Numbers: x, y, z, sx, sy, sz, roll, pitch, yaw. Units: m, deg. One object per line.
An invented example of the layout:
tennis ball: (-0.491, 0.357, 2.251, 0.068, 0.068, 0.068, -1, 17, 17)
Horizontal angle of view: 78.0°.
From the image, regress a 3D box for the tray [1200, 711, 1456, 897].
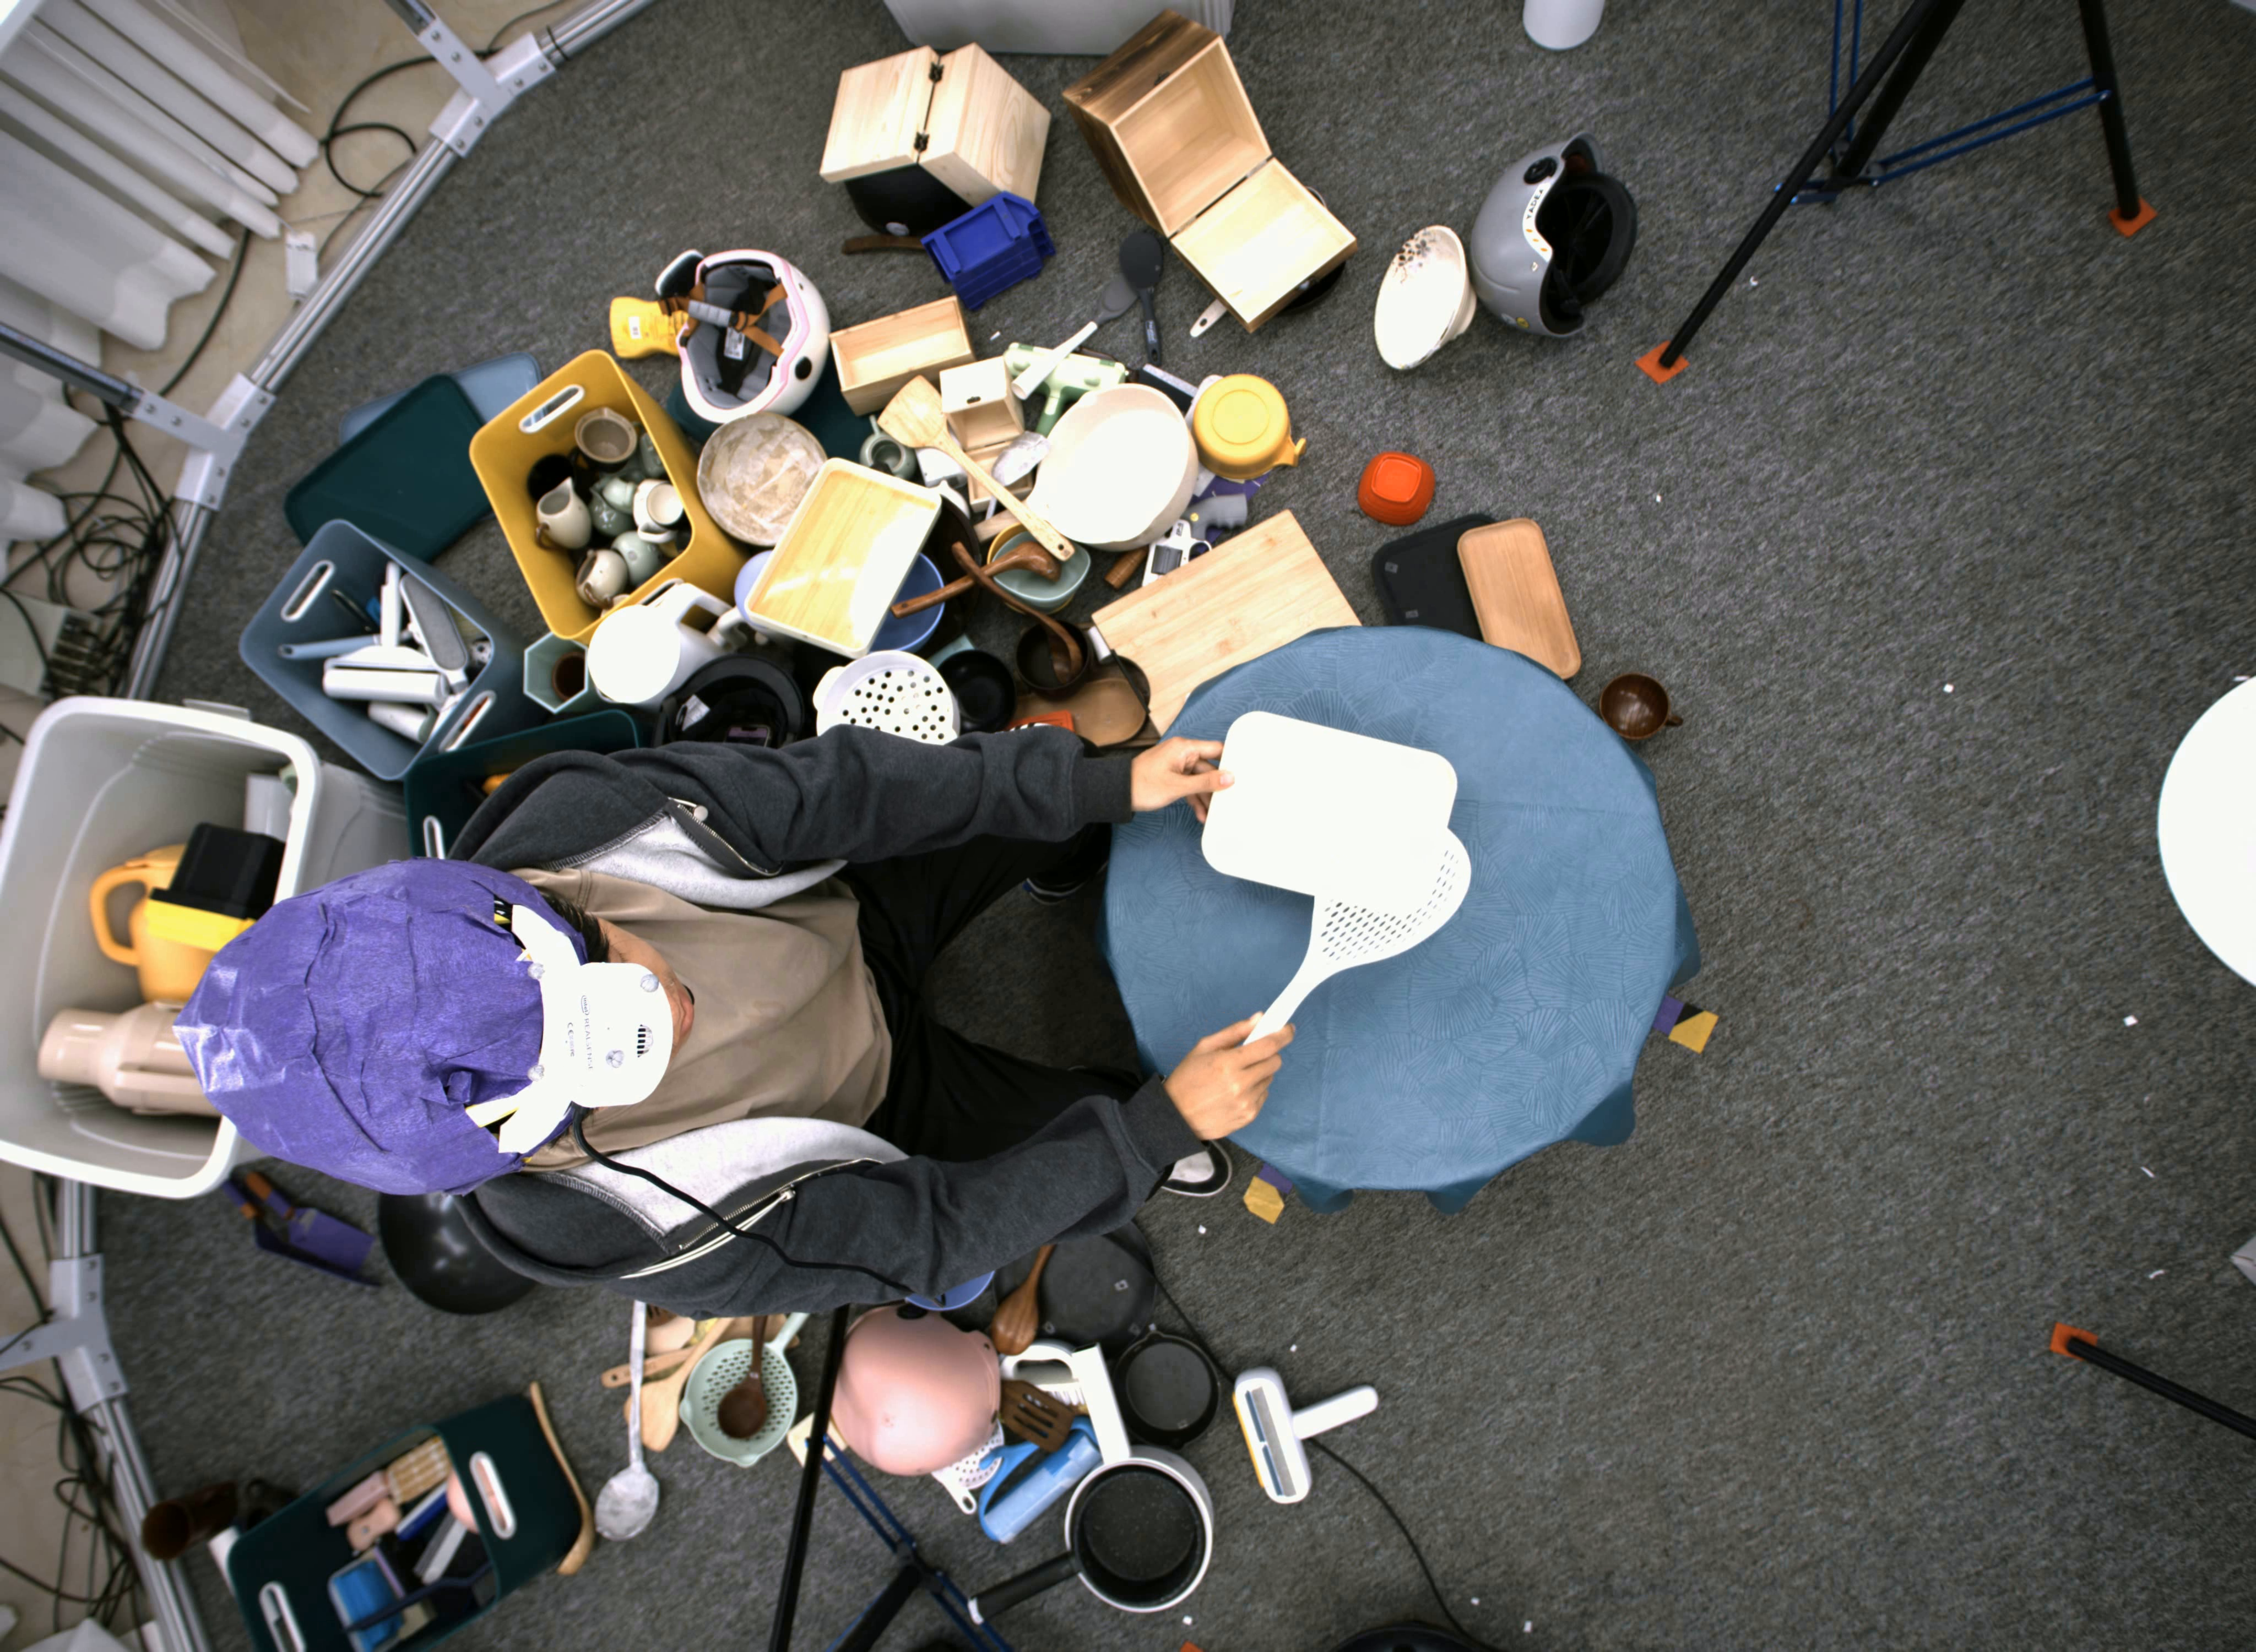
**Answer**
tray: (0.202, -0.014, 1.404, 0.240, 0.017, 0.172, 14, 95, 3)

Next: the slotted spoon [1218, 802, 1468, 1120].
slotted spoon: (0.187, 0.131, 1.317, 0.135, 0.051, 0.347, 38, 86, 31)
